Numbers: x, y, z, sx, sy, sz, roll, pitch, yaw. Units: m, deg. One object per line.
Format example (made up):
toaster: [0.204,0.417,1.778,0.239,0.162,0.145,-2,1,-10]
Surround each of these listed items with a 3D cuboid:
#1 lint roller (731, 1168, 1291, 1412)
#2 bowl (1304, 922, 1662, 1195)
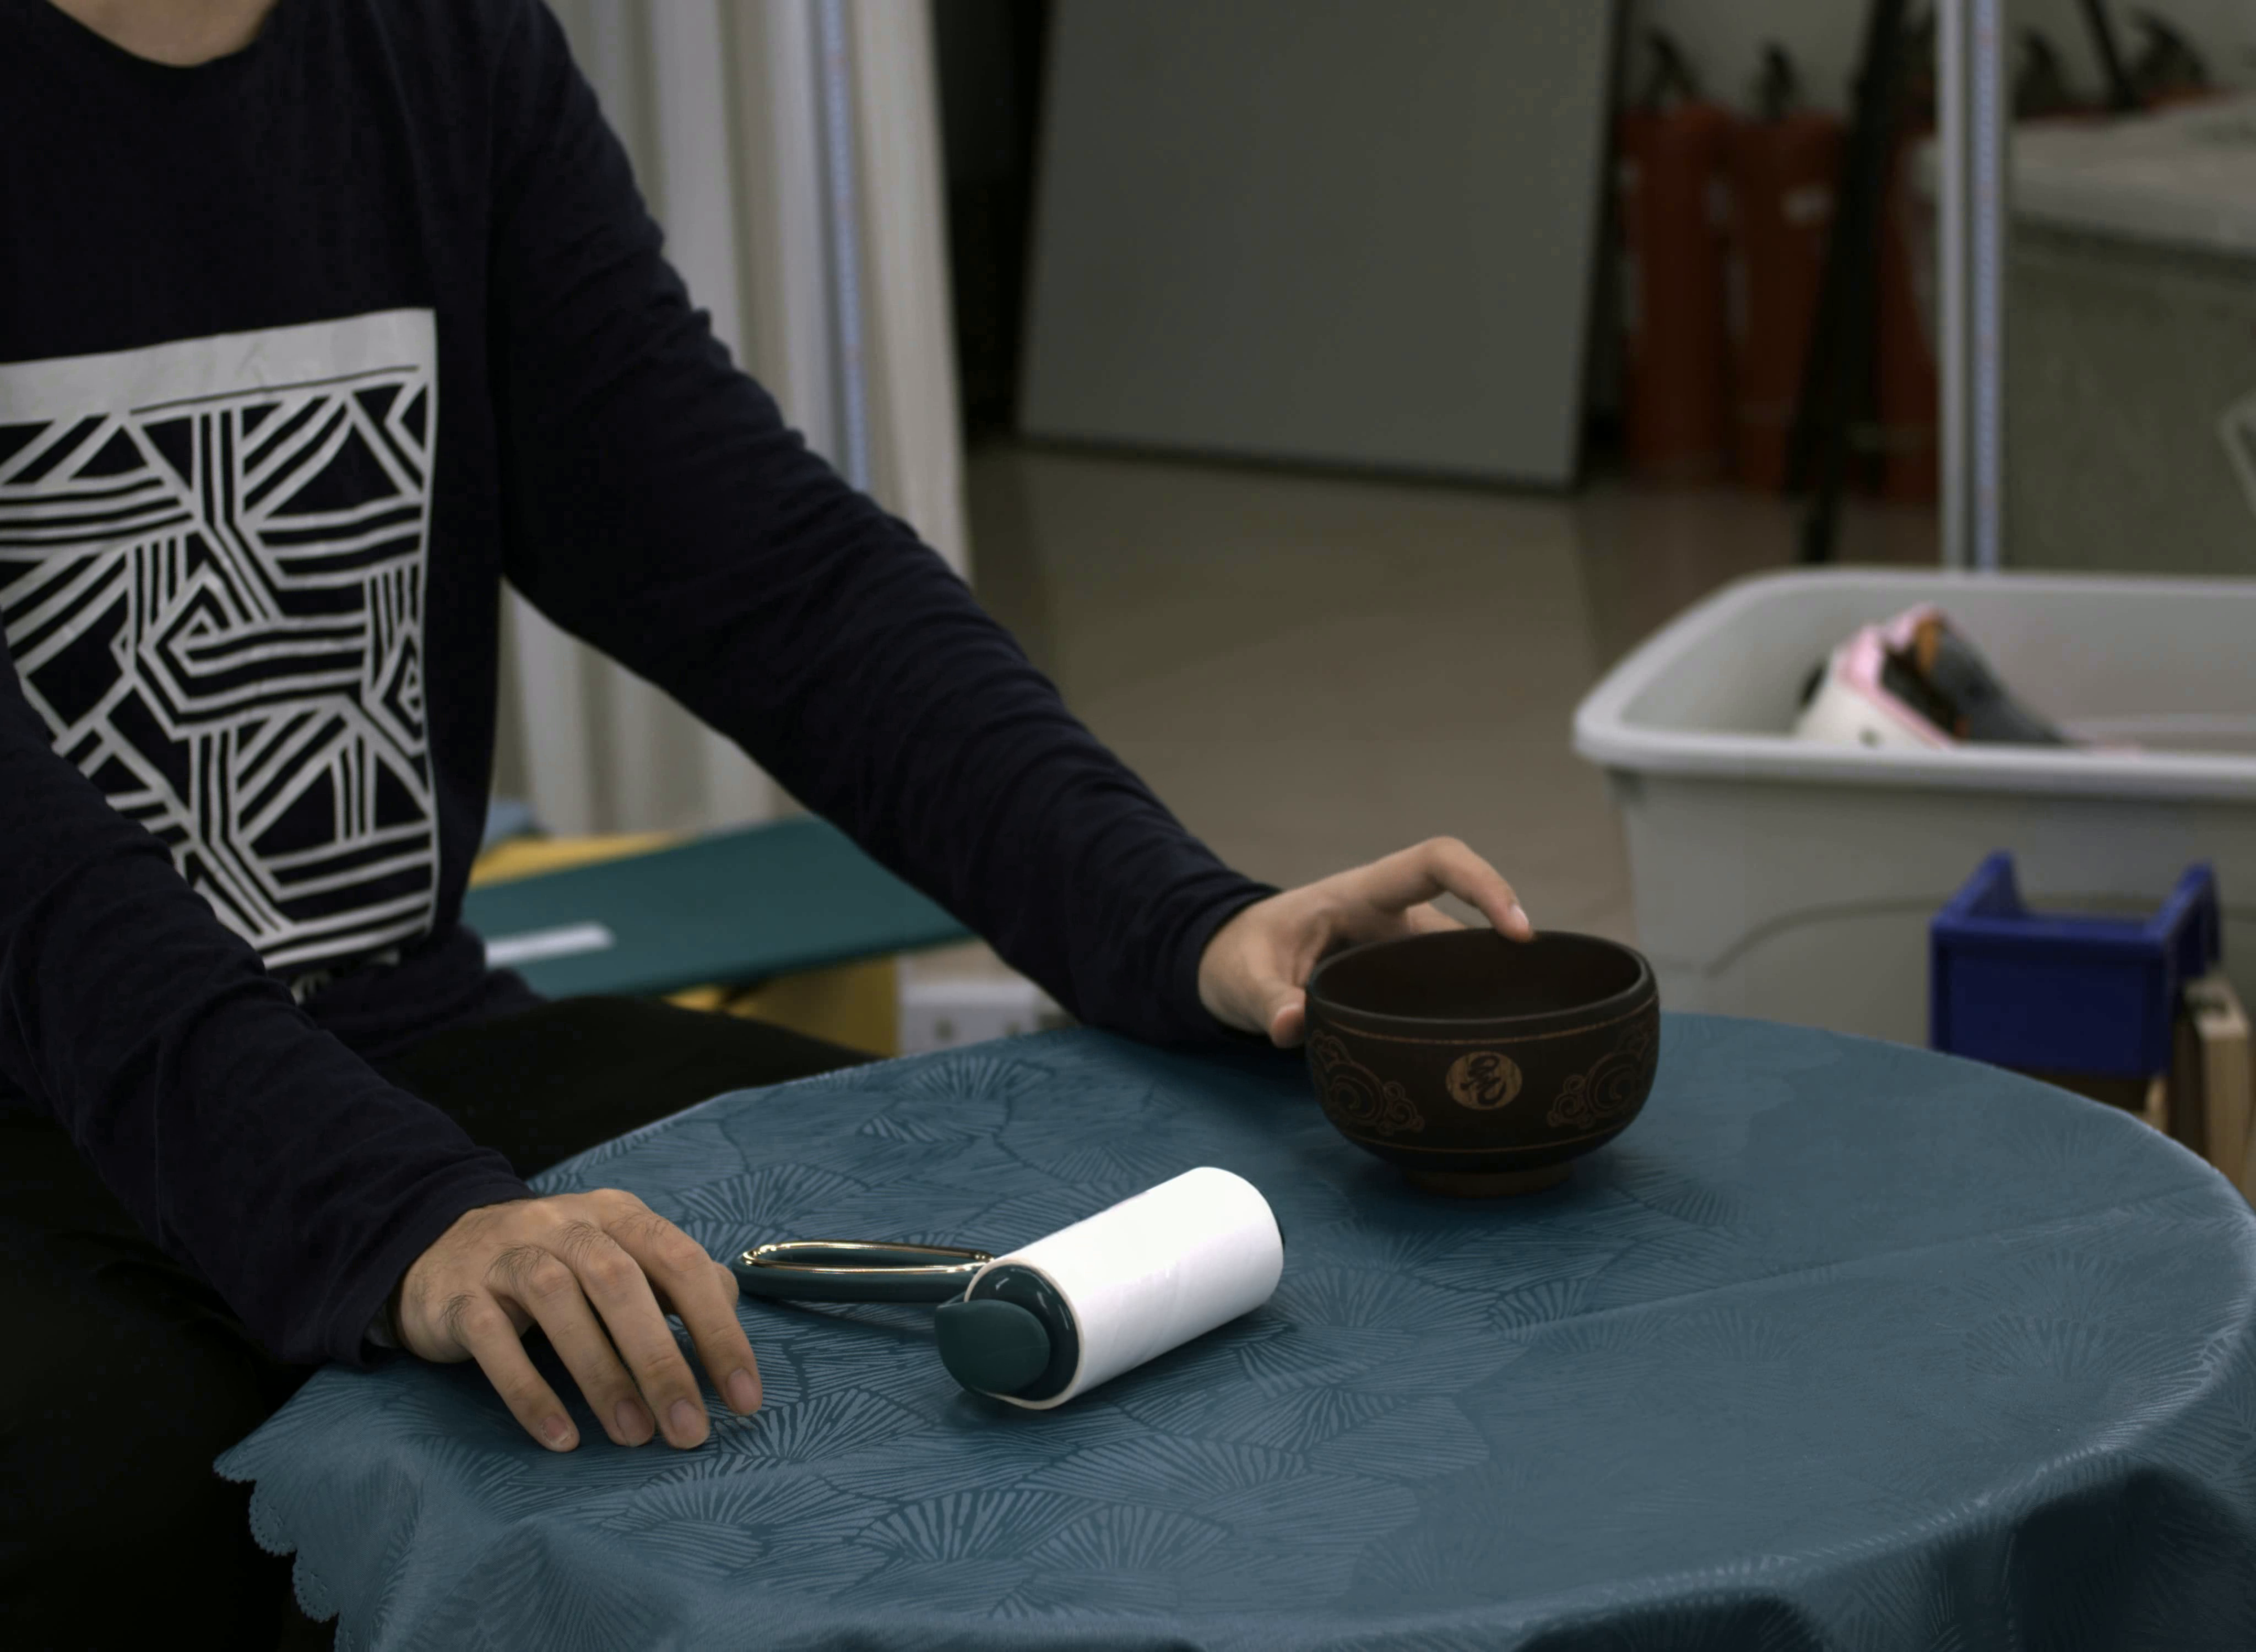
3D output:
lint roller: [-0.054,0.134,1.650,0.181,0.049,0.132,3,15,39]
bowl: [0.117,0.079,1.759,0.116,0.070,0.118,-6,13,1]
